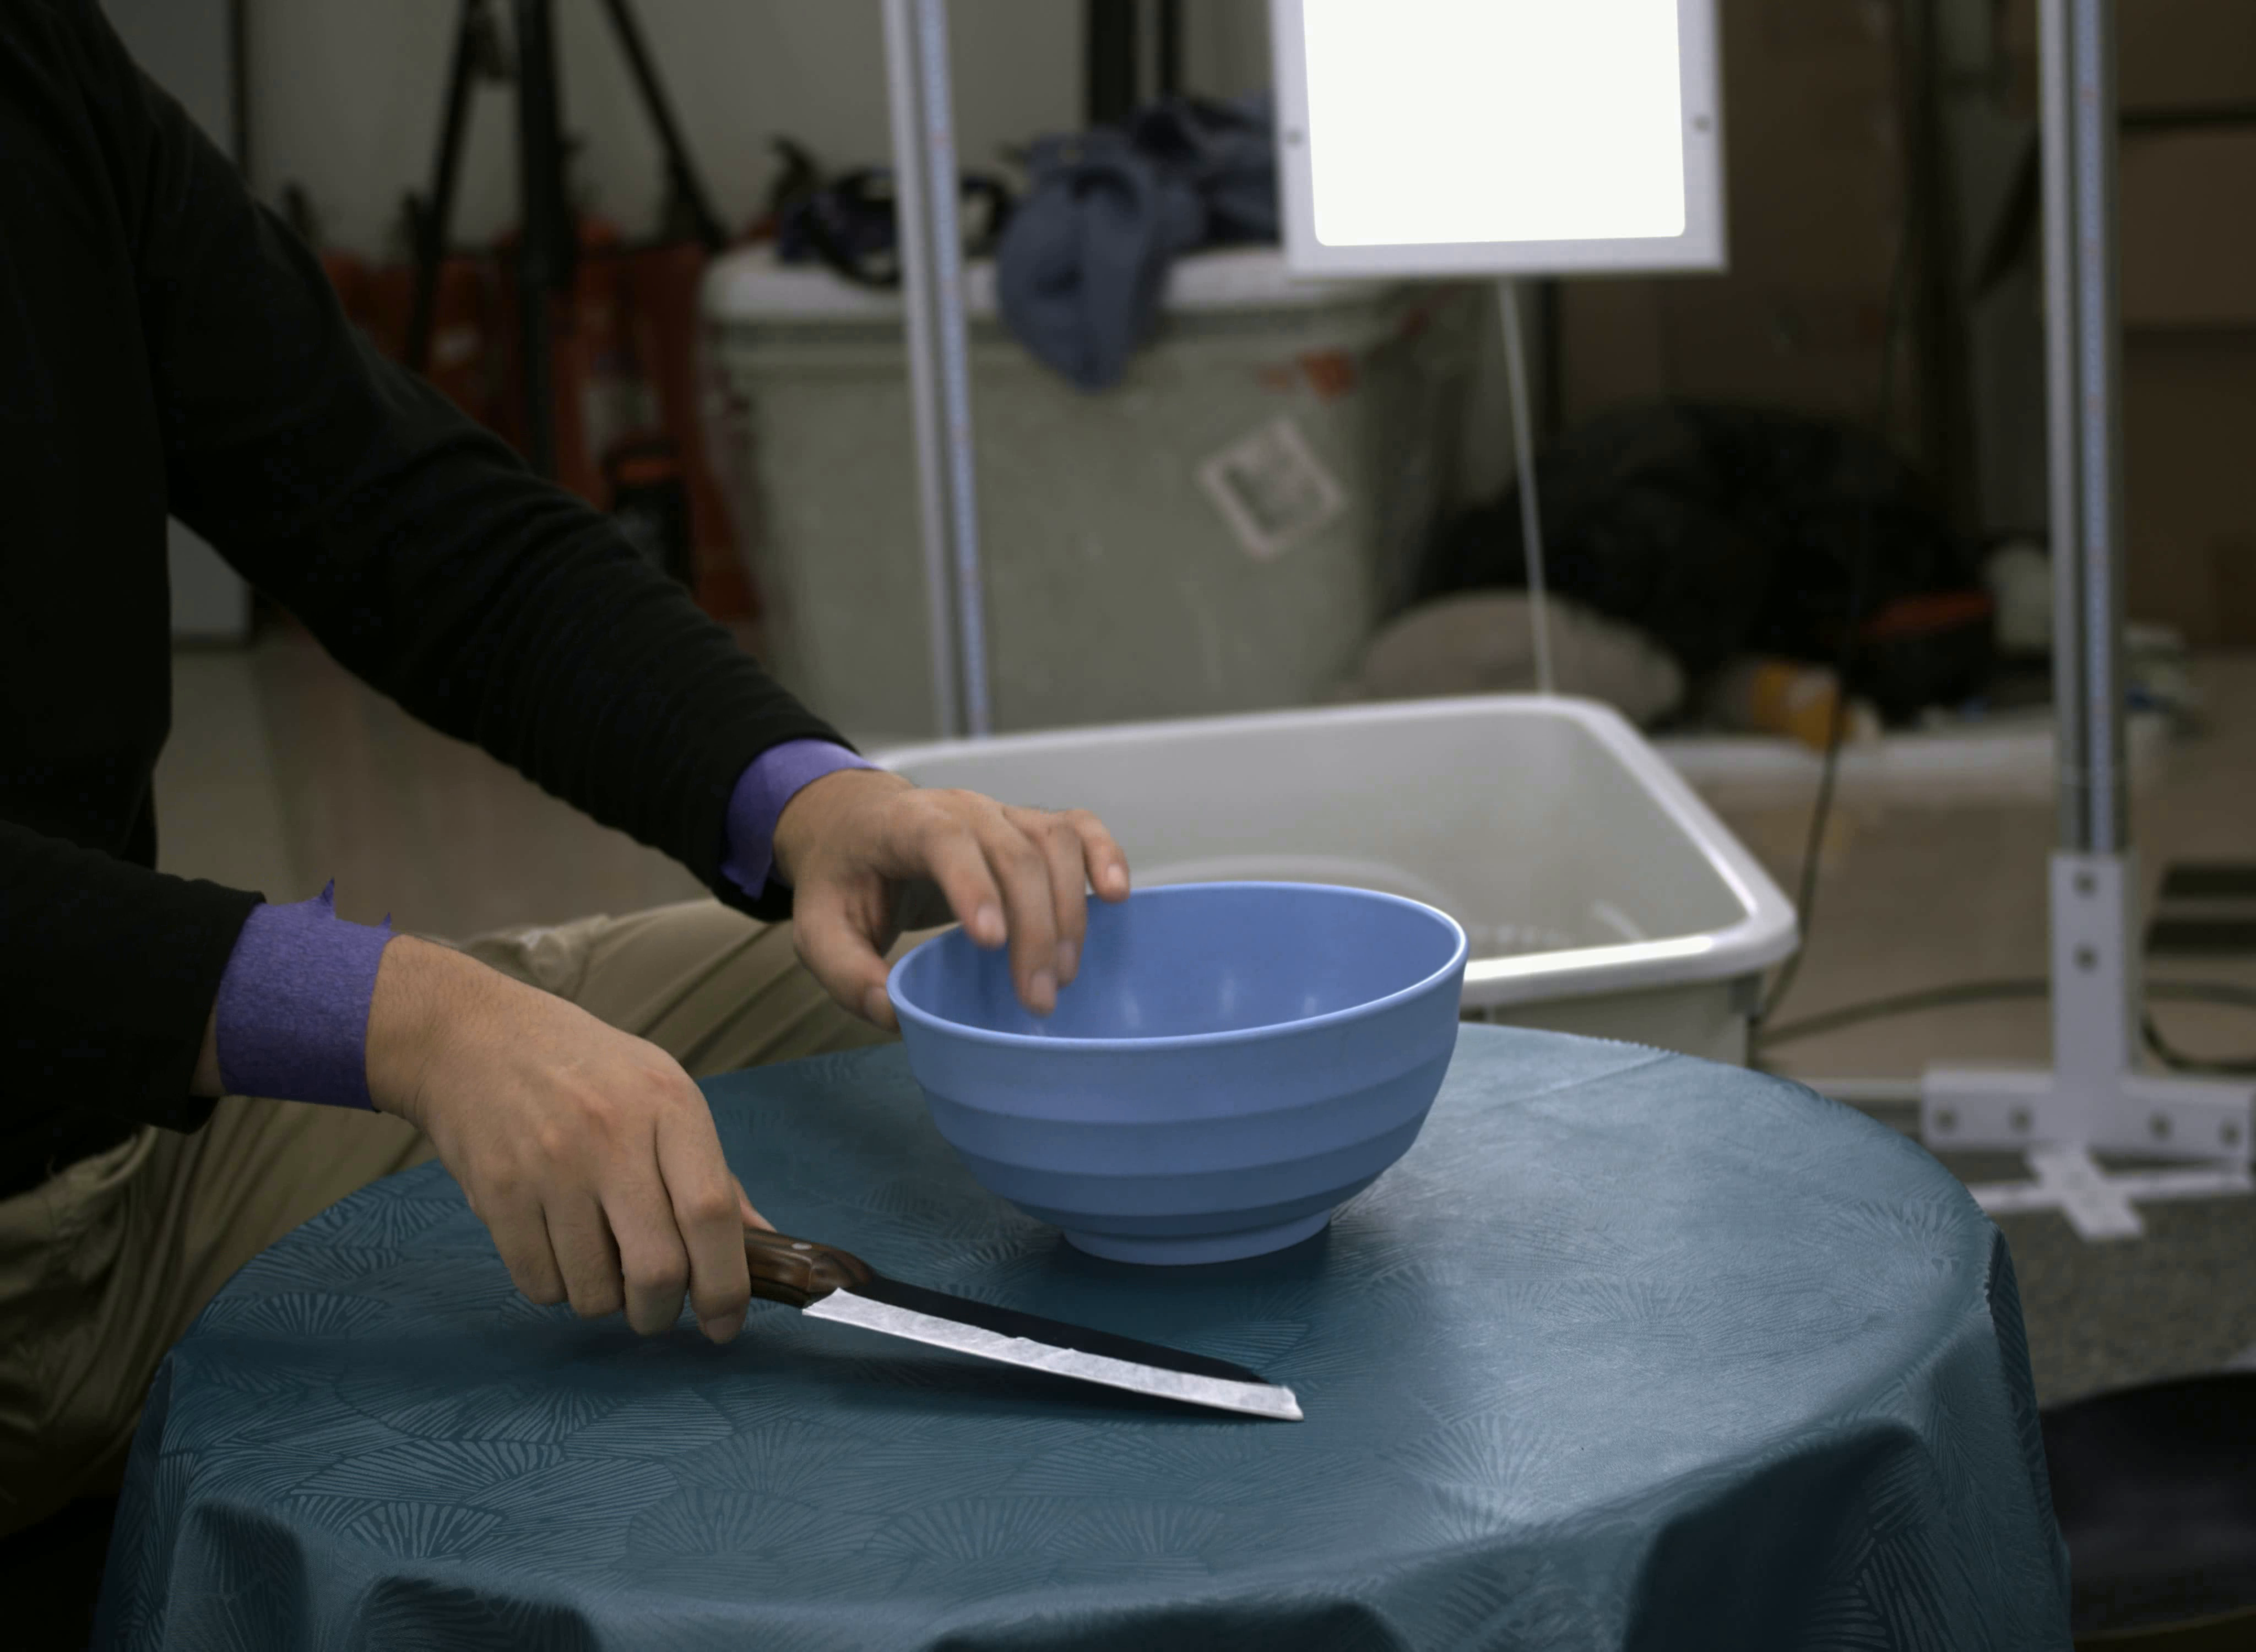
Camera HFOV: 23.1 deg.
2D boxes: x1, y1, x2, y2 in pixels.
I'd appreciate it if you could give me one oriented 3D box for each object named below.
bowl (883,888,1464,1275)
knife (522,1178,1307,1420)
[{"bbox_3d":[0.020,0.091,1.848,0.196,0.096,0.196,-7,13,0],"label":"bowl"},{"bbox_3d":[-0.072,0.151,1.734,0.294,0.020,0.049,12,18,28],"label":"knife"}]
